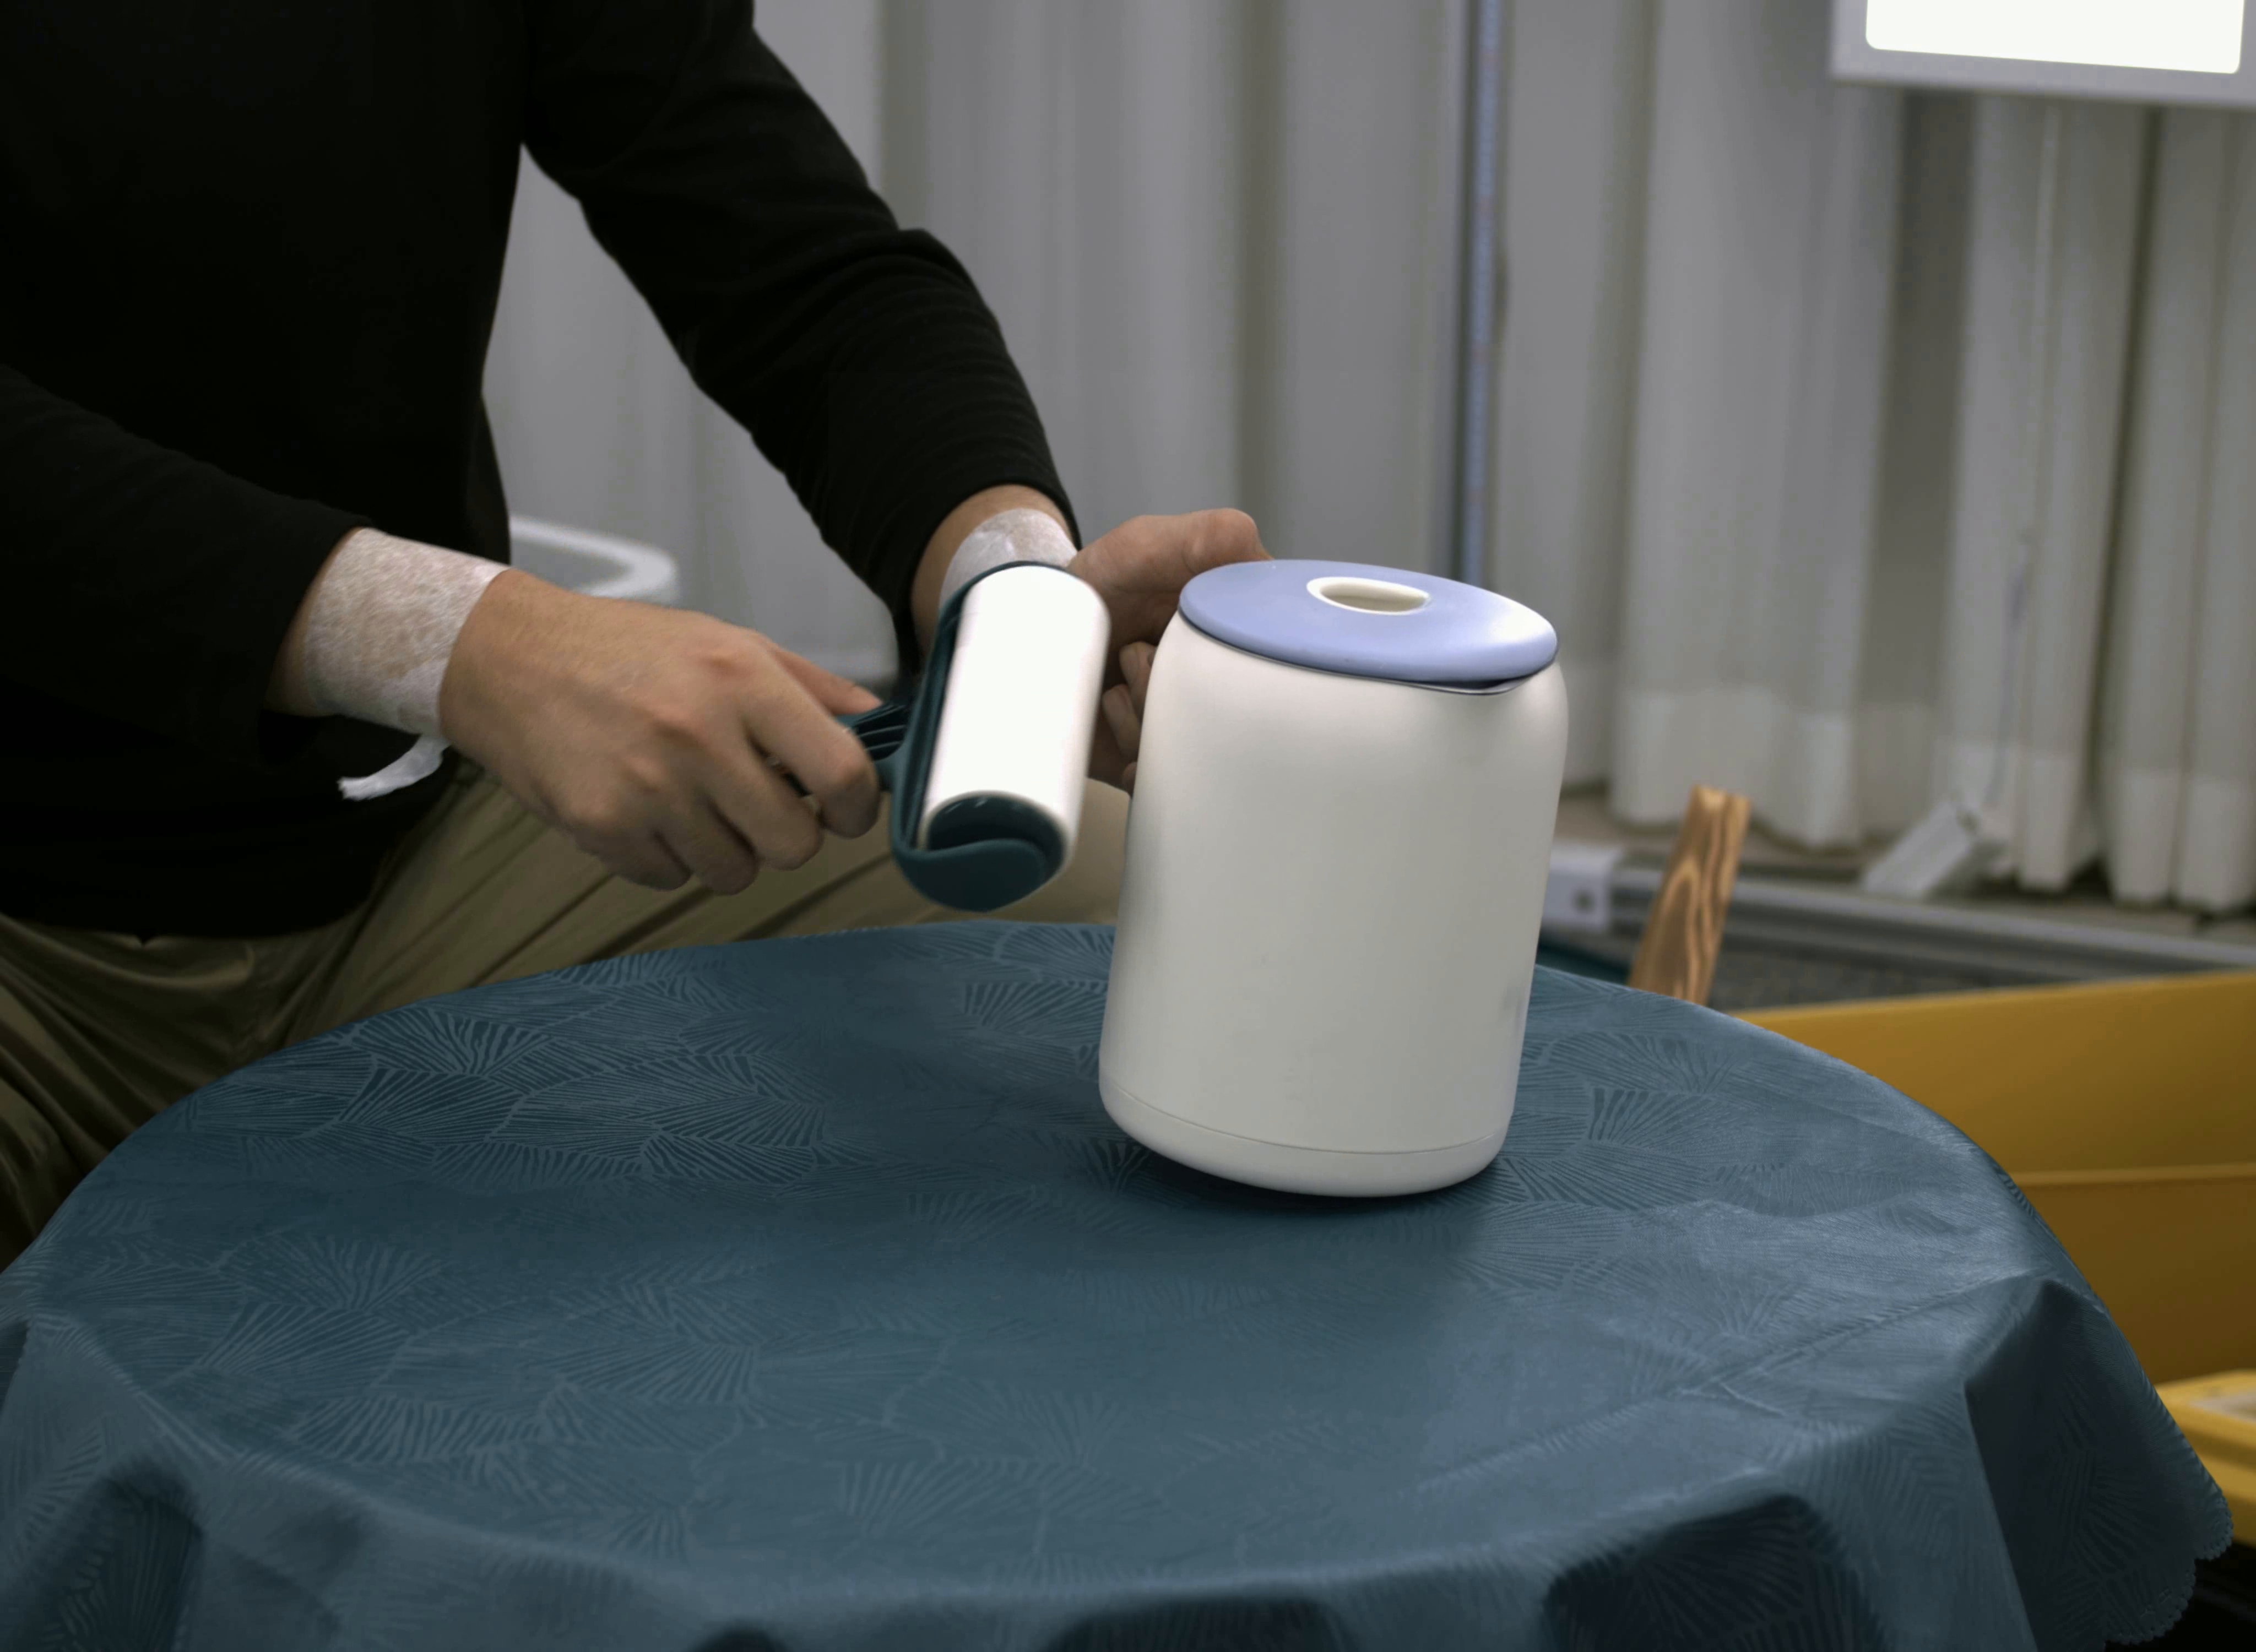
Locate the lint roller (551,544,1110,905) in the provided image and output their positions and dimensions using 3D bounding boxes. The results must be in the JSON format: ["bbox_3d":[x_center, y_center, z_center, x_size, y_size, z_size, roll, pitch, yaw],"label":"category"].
[{"bbox_3d":[-0.099,-0.027,1.637,0.179,0.049,0.133,-3,44,11],"label":"lint roller"}]

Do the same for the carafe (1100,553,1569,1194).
[{"bbox_3d":[0.052,0.007,1.650,0.133,0.184,0.188,-2,17,-32],"label":"carafe"}]
